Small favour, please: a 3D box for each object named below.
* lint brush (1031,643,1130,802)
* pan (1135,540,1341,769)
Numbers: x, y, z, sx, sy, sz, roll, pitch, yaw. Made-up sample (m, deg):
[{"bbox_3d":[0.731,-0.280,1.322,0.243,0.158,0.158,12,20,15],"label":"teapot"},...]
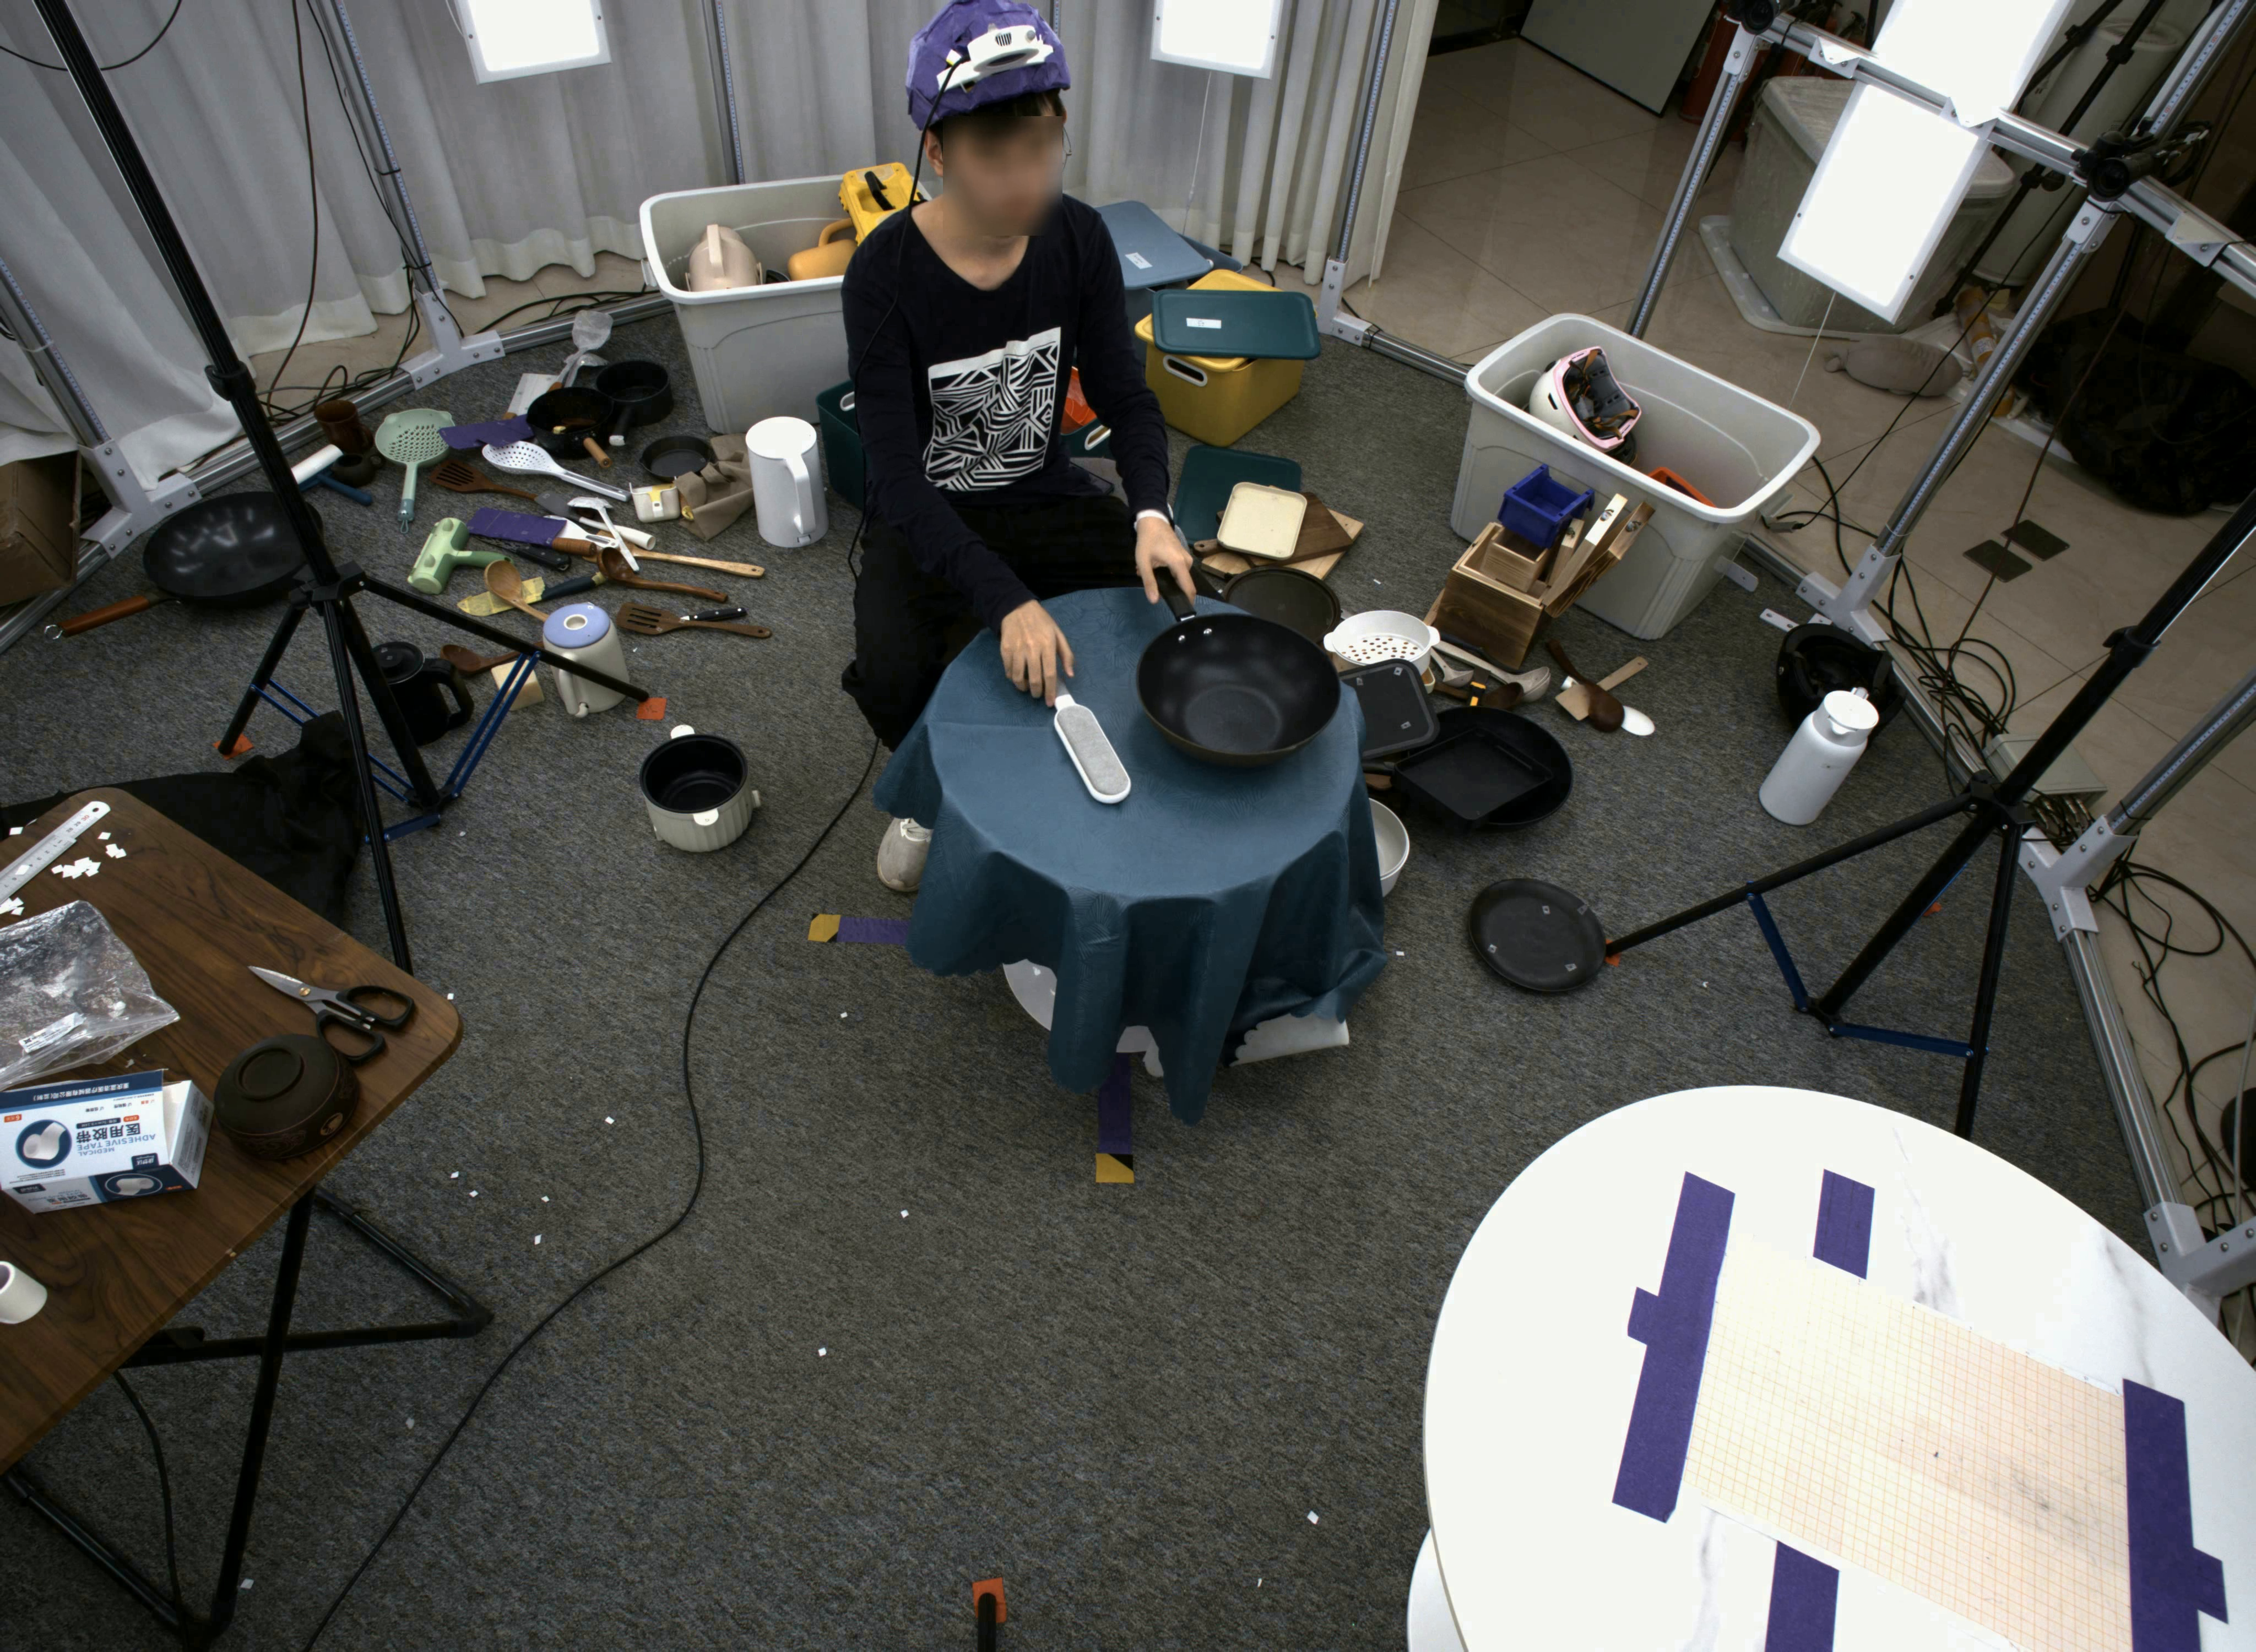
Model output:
[{"bbox_3d":[-0.072,-0.149,1.772,0.060,0.020,0.316,-20,53,-11],"label":"lint brush"},{"bbox_3d":[0.109,-0.240,1.829,0.288,0.085,0.474,-17,52,-18],"label":"pan"}]
